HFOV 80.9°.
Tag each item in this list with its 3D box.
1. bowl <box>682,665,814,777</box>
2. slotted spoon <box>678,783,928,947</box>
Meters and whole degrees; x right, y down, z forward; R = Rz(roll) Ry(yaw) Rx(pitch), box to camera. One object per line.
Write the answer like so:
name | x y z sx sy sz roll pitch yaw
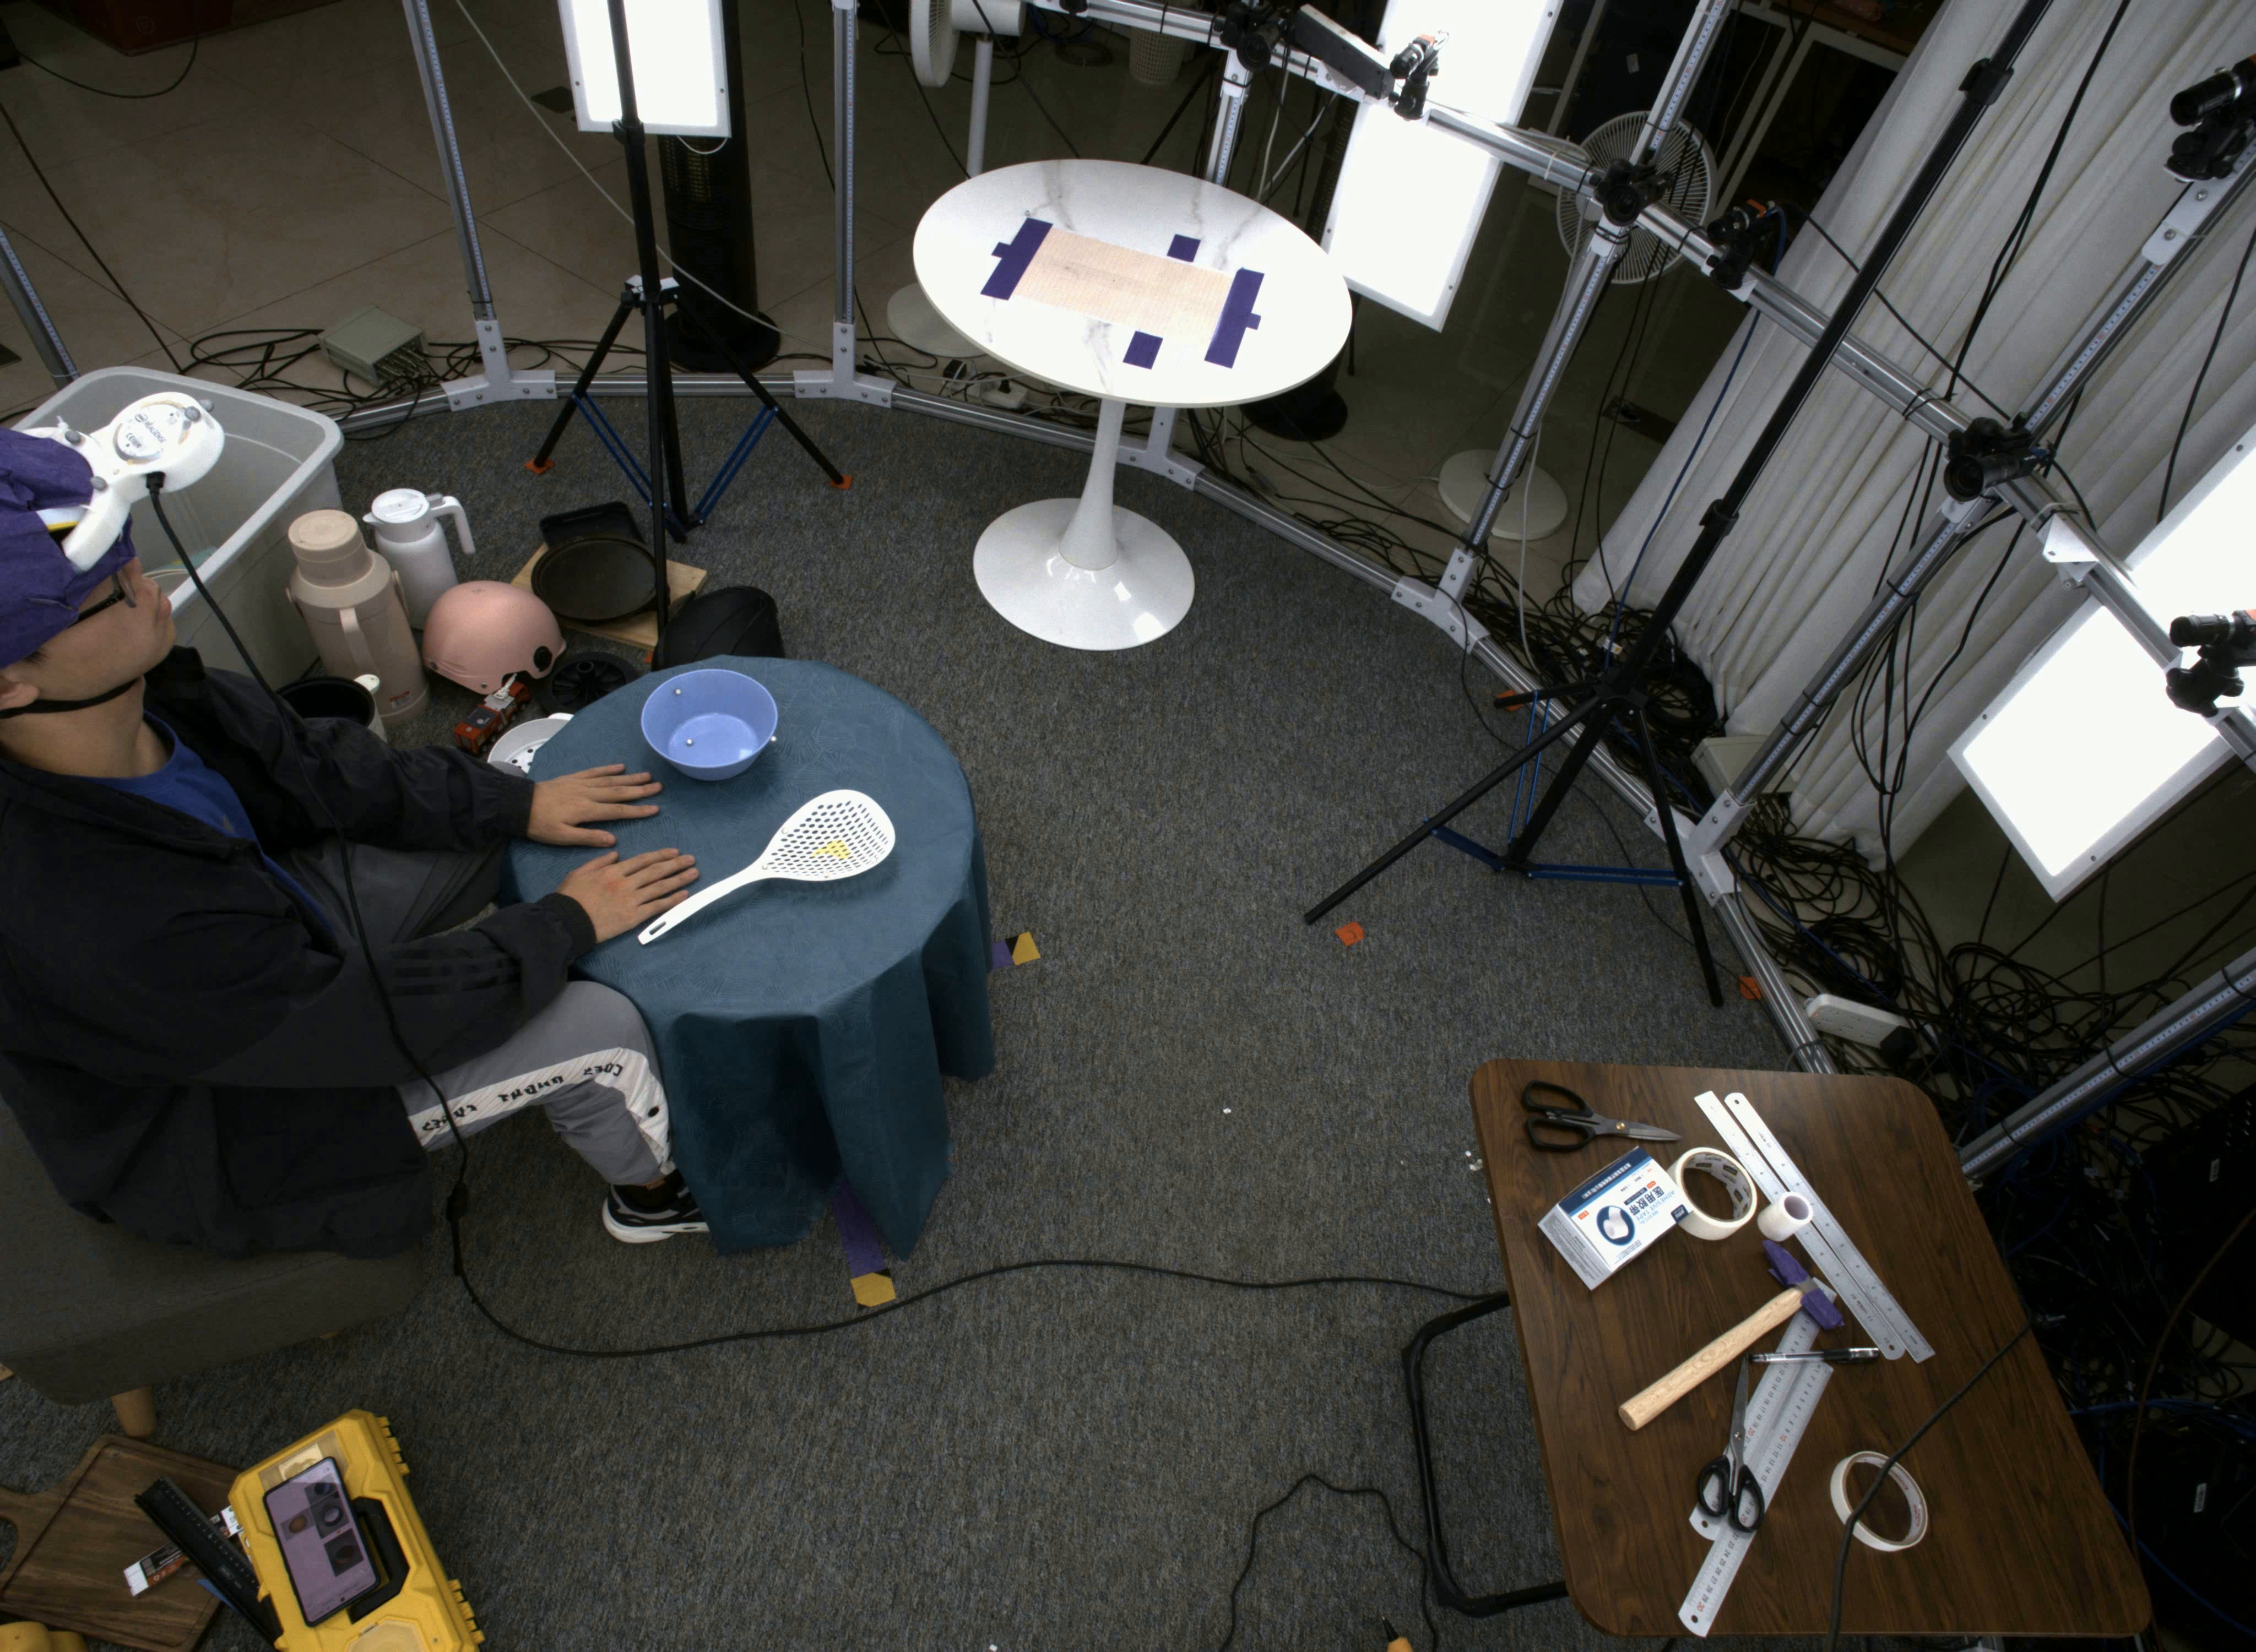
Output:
bowl | -0.516 -0.133 1.764 0.175 0.072 0.173 7 52 -8
slotted spoon | -0.421 0.056 1.667 0.349 0.051 0.134 -27 67 -29
